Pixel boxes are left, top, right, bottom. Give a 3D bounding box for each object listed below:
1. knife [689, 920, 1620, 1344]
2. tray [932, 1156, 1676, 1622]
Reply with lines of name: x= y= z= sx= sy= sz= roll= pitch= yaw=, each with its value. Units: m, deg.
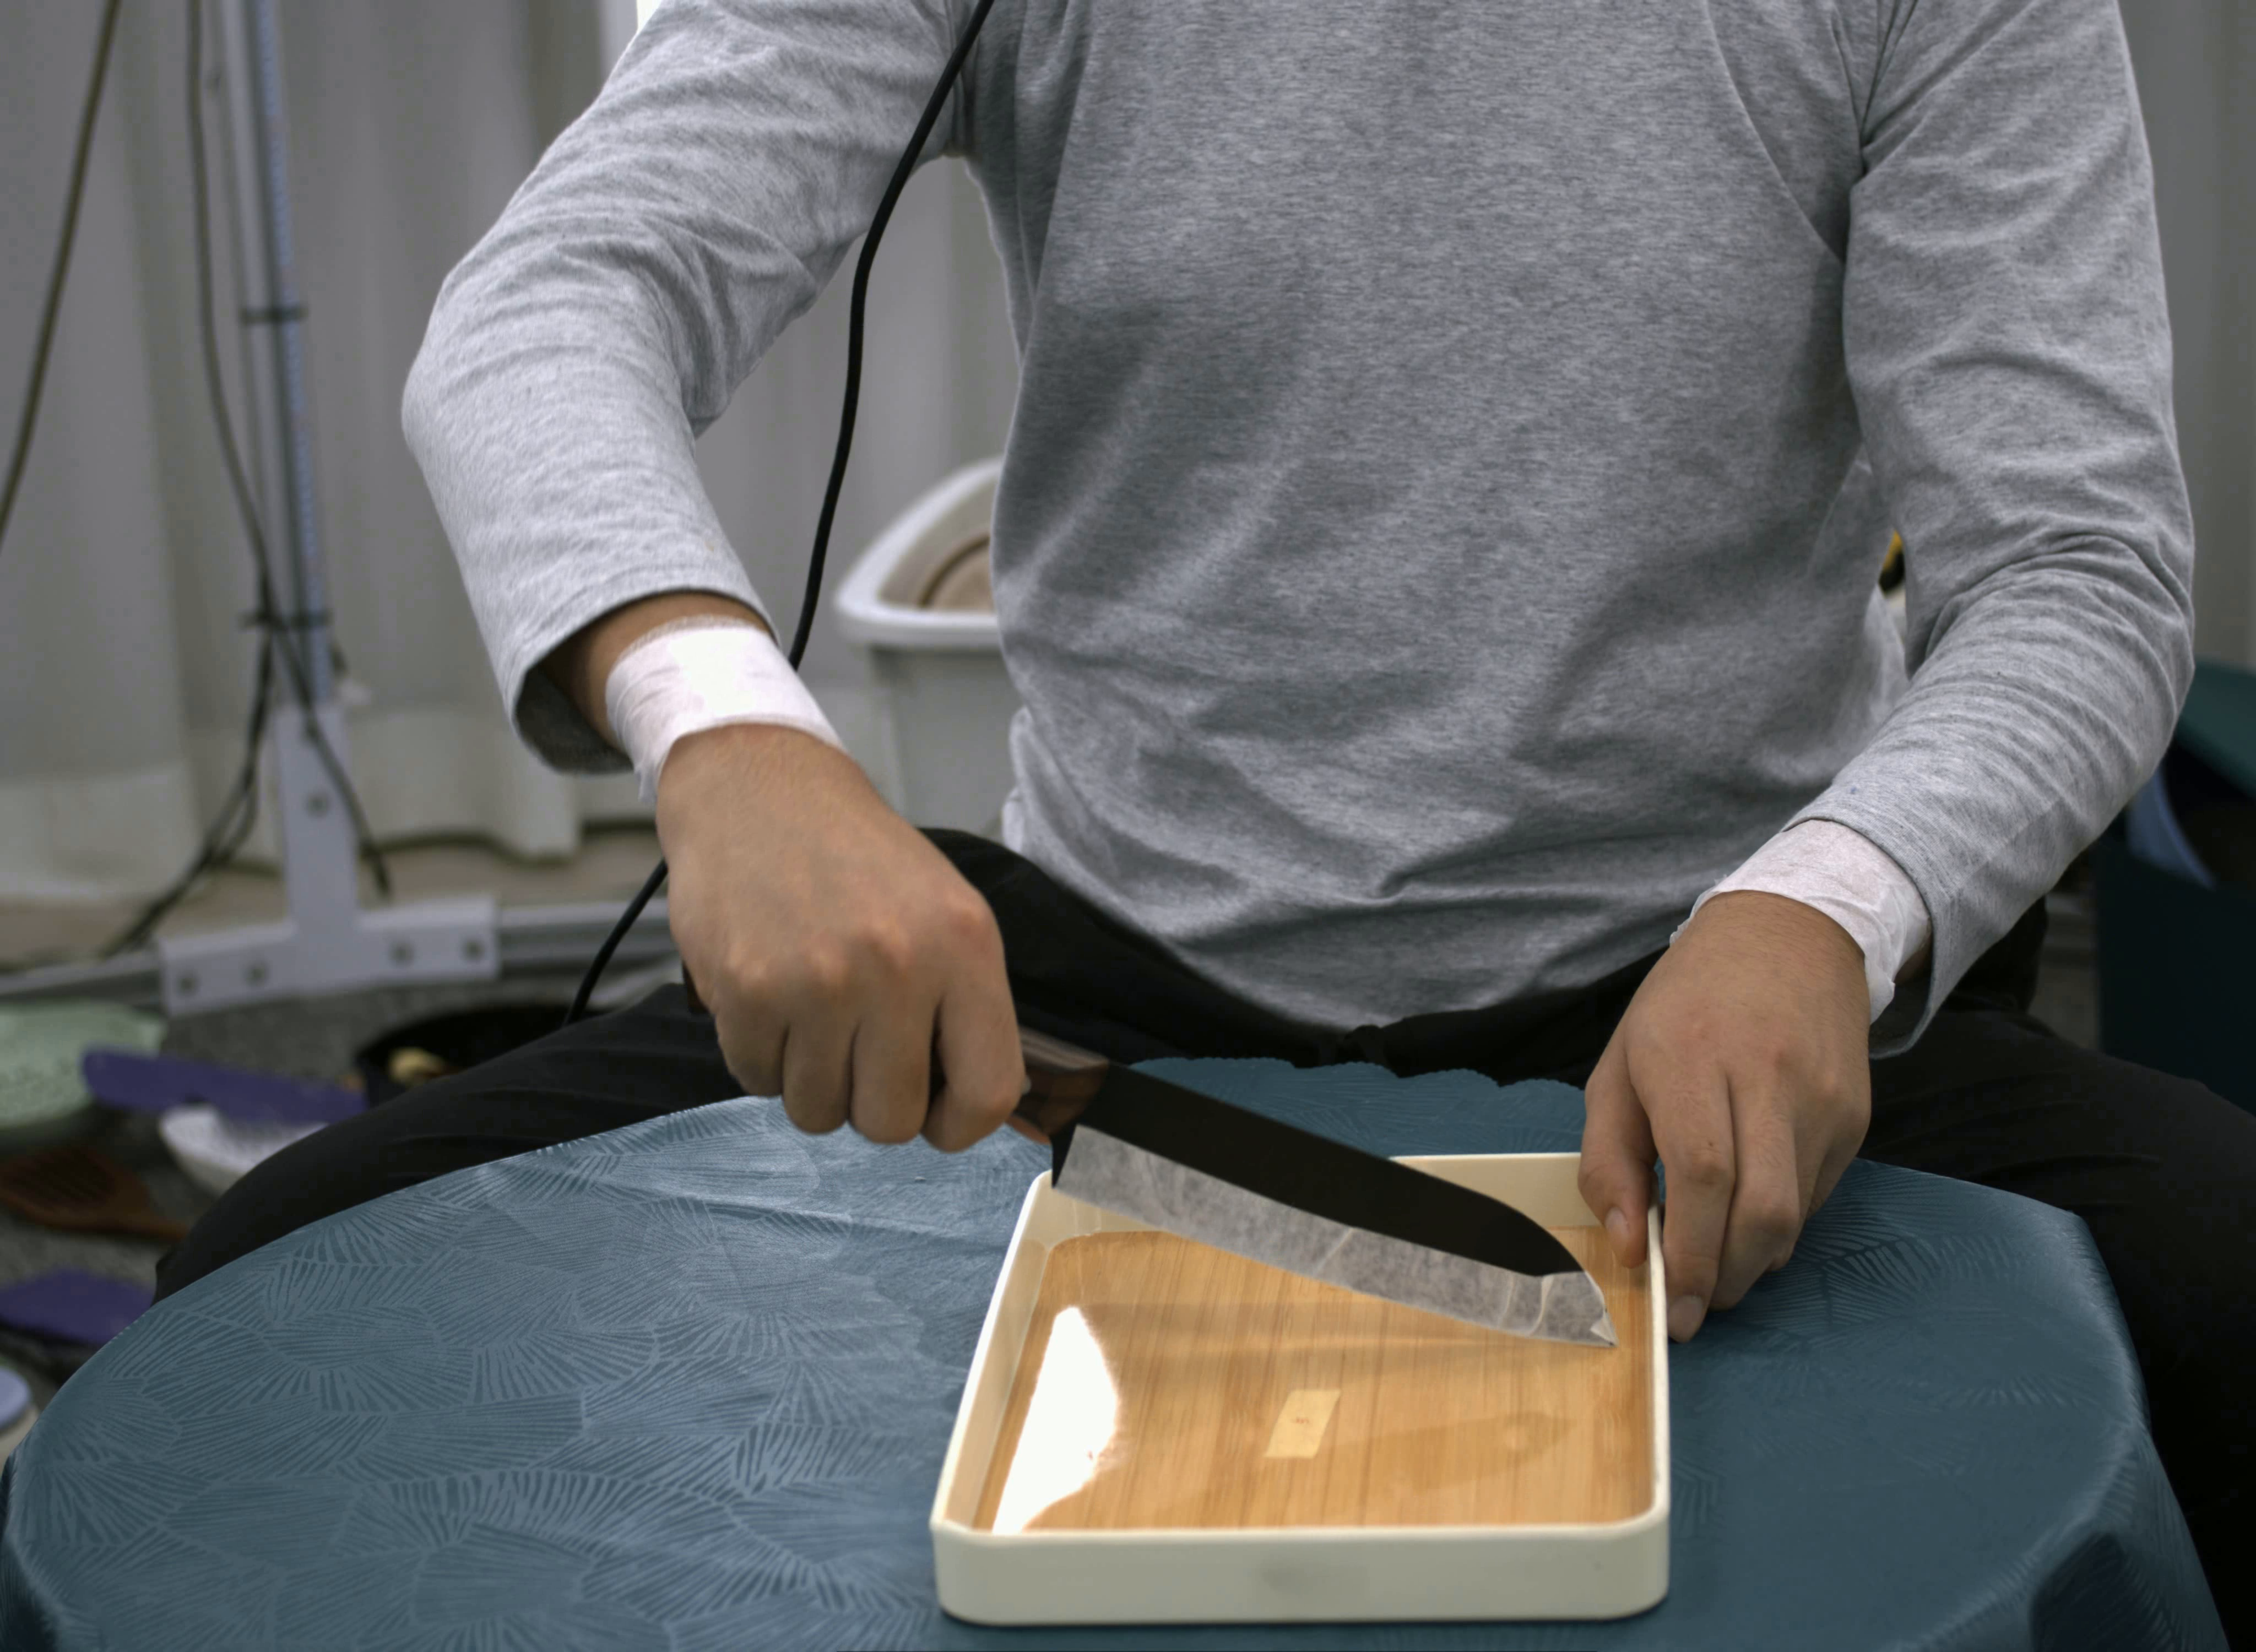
knife: x=0.007 y=0.088 z=1.555 sx=0.289 sy=0.050 sz=0.020 roll=22 pitch=19 yaw=3
tray: x=0.055 y=0.152 z=1.516 sx=0.191 sy=0.027 sz=0.302 roll=-1 pitch=15 yaw=5
